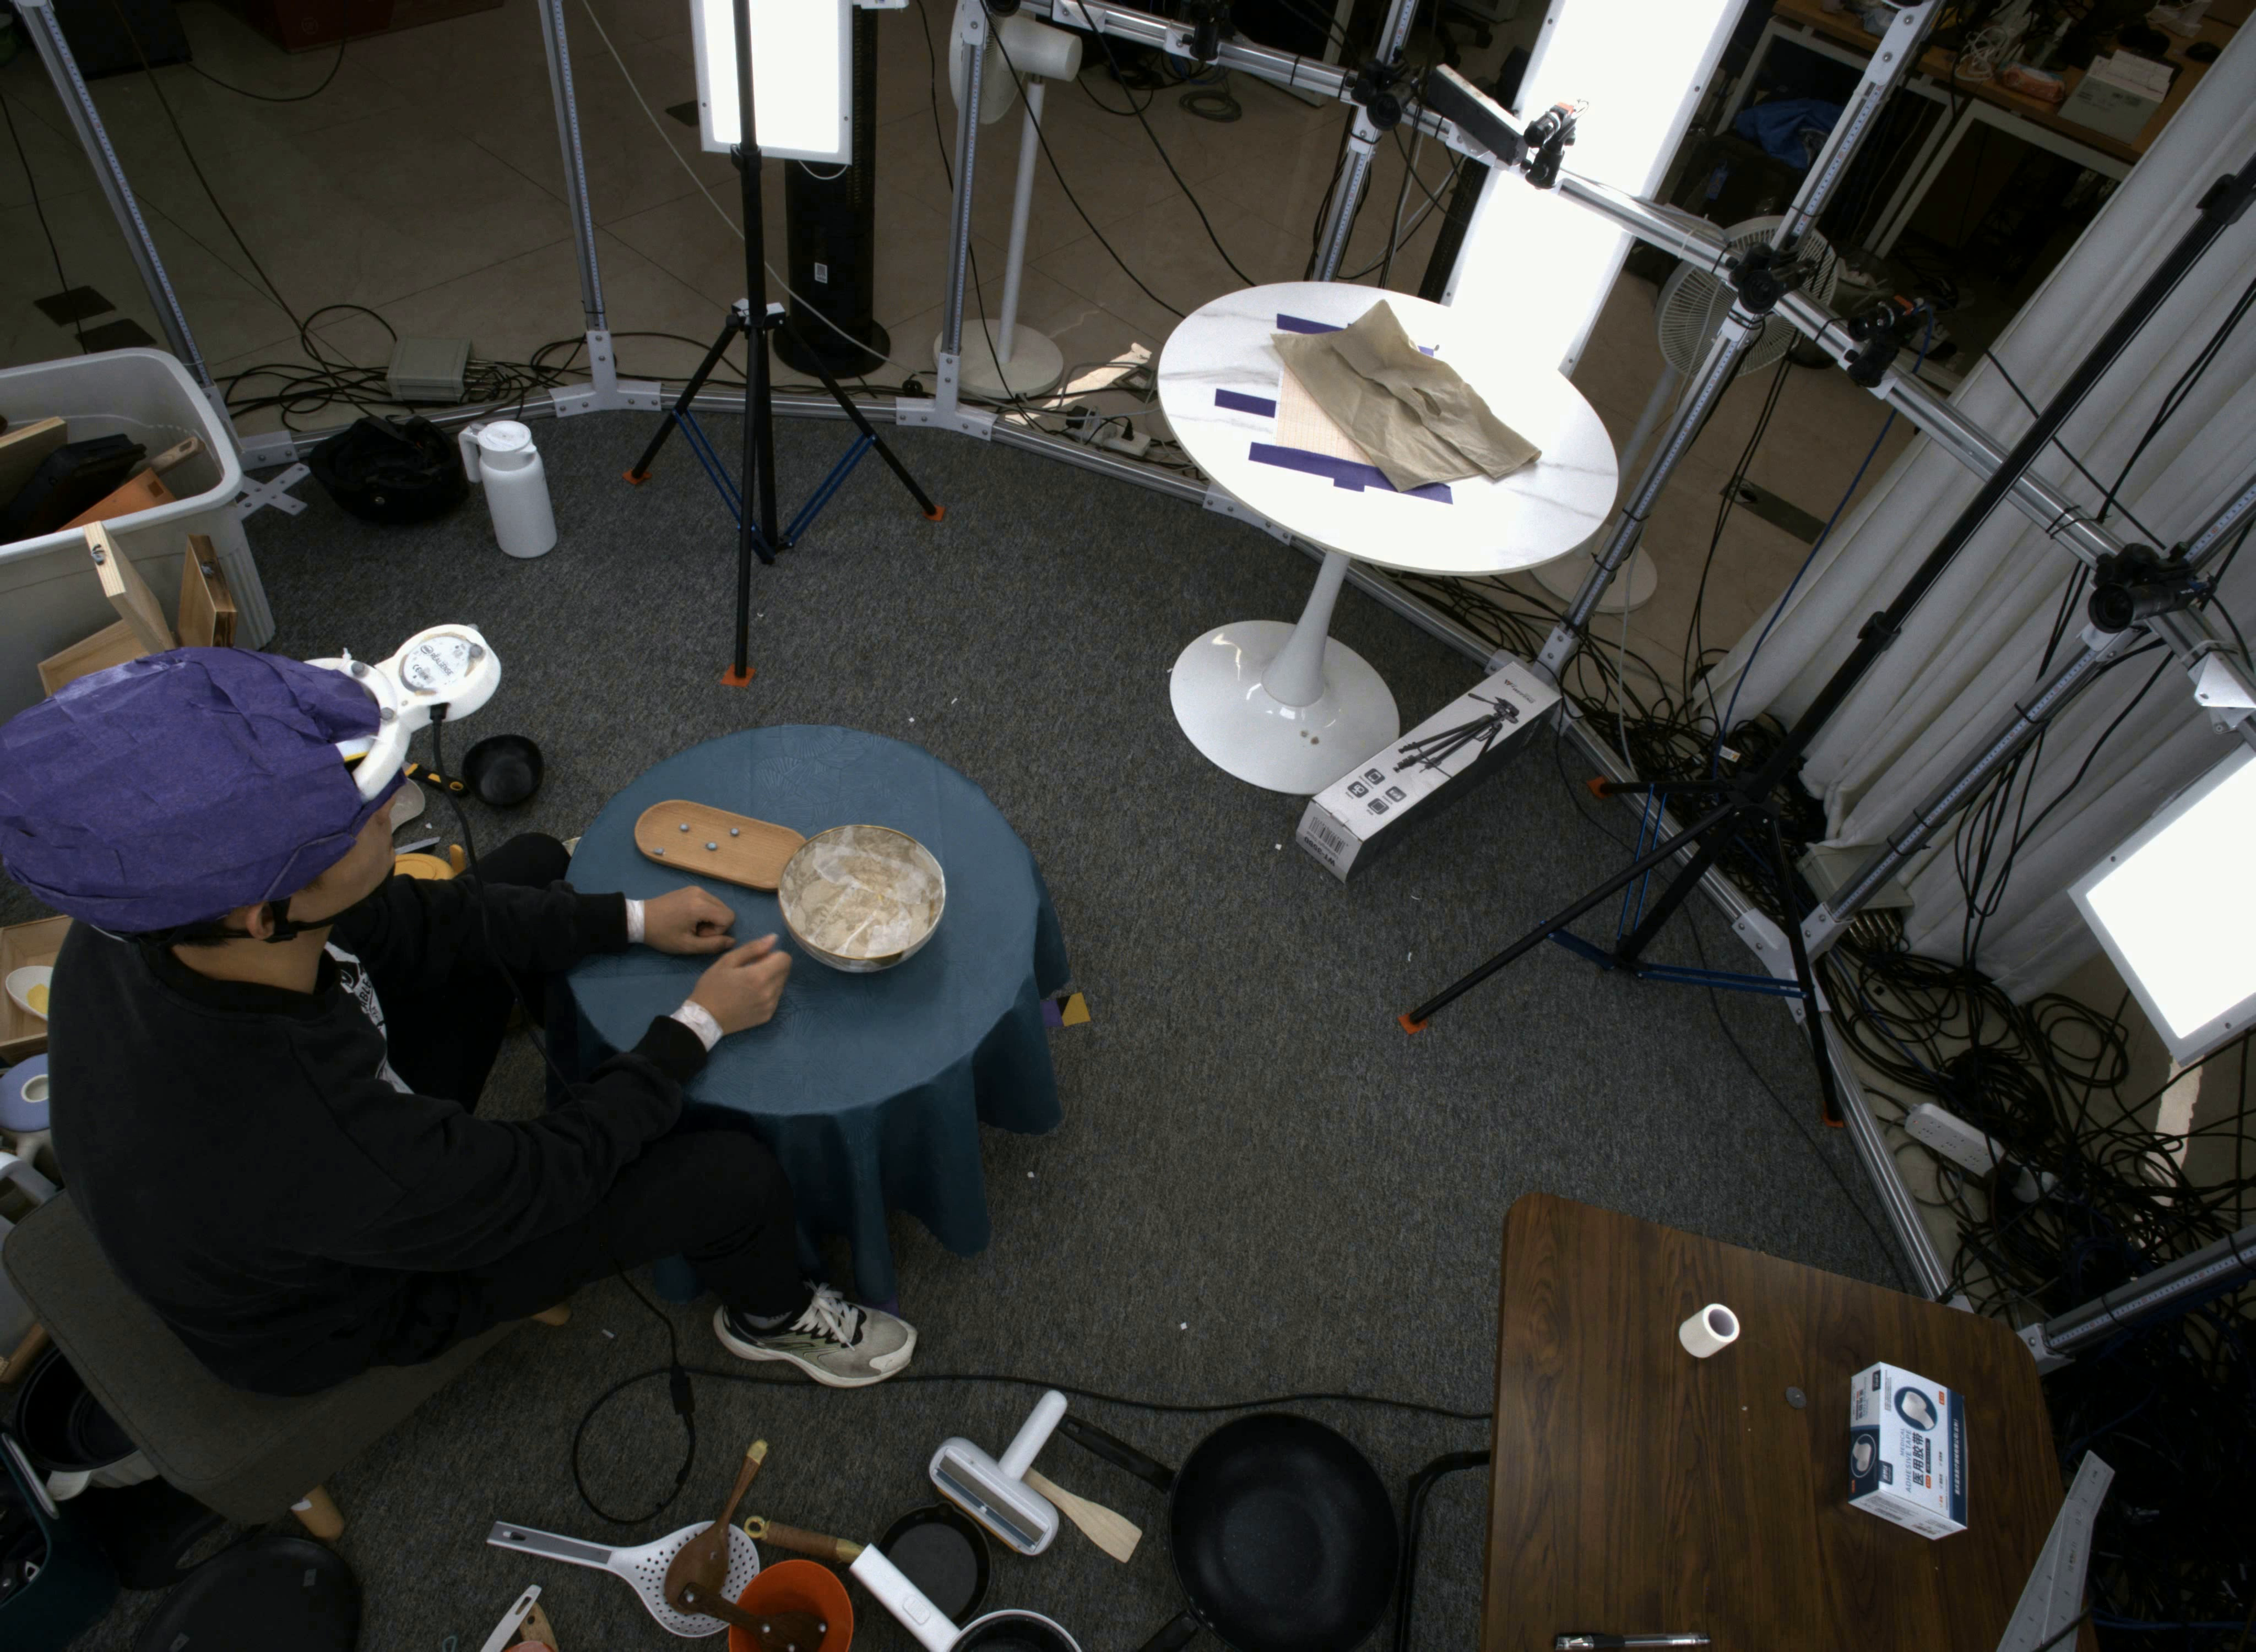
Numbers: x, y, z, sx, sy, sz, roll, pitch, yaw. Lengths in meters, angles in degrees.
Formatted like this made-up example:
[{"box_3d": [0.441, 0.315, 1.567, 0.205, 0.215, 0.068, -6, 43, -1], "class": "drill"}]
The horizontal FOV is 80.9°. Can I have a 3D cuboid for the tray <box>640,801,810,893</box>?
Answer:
[{"box_3d": [-0.519, 0.026, 1.675, 0.230, 0.020, 0.100, 15, 54, -5], "class": "tray"}]

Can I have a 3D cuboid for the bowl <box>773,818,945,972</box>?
[{"box_3d": [-0.334, 0.099, 1.618, 0.214, 0.096, 0.211, 8, 53, -9], "class": "bowl"}]
